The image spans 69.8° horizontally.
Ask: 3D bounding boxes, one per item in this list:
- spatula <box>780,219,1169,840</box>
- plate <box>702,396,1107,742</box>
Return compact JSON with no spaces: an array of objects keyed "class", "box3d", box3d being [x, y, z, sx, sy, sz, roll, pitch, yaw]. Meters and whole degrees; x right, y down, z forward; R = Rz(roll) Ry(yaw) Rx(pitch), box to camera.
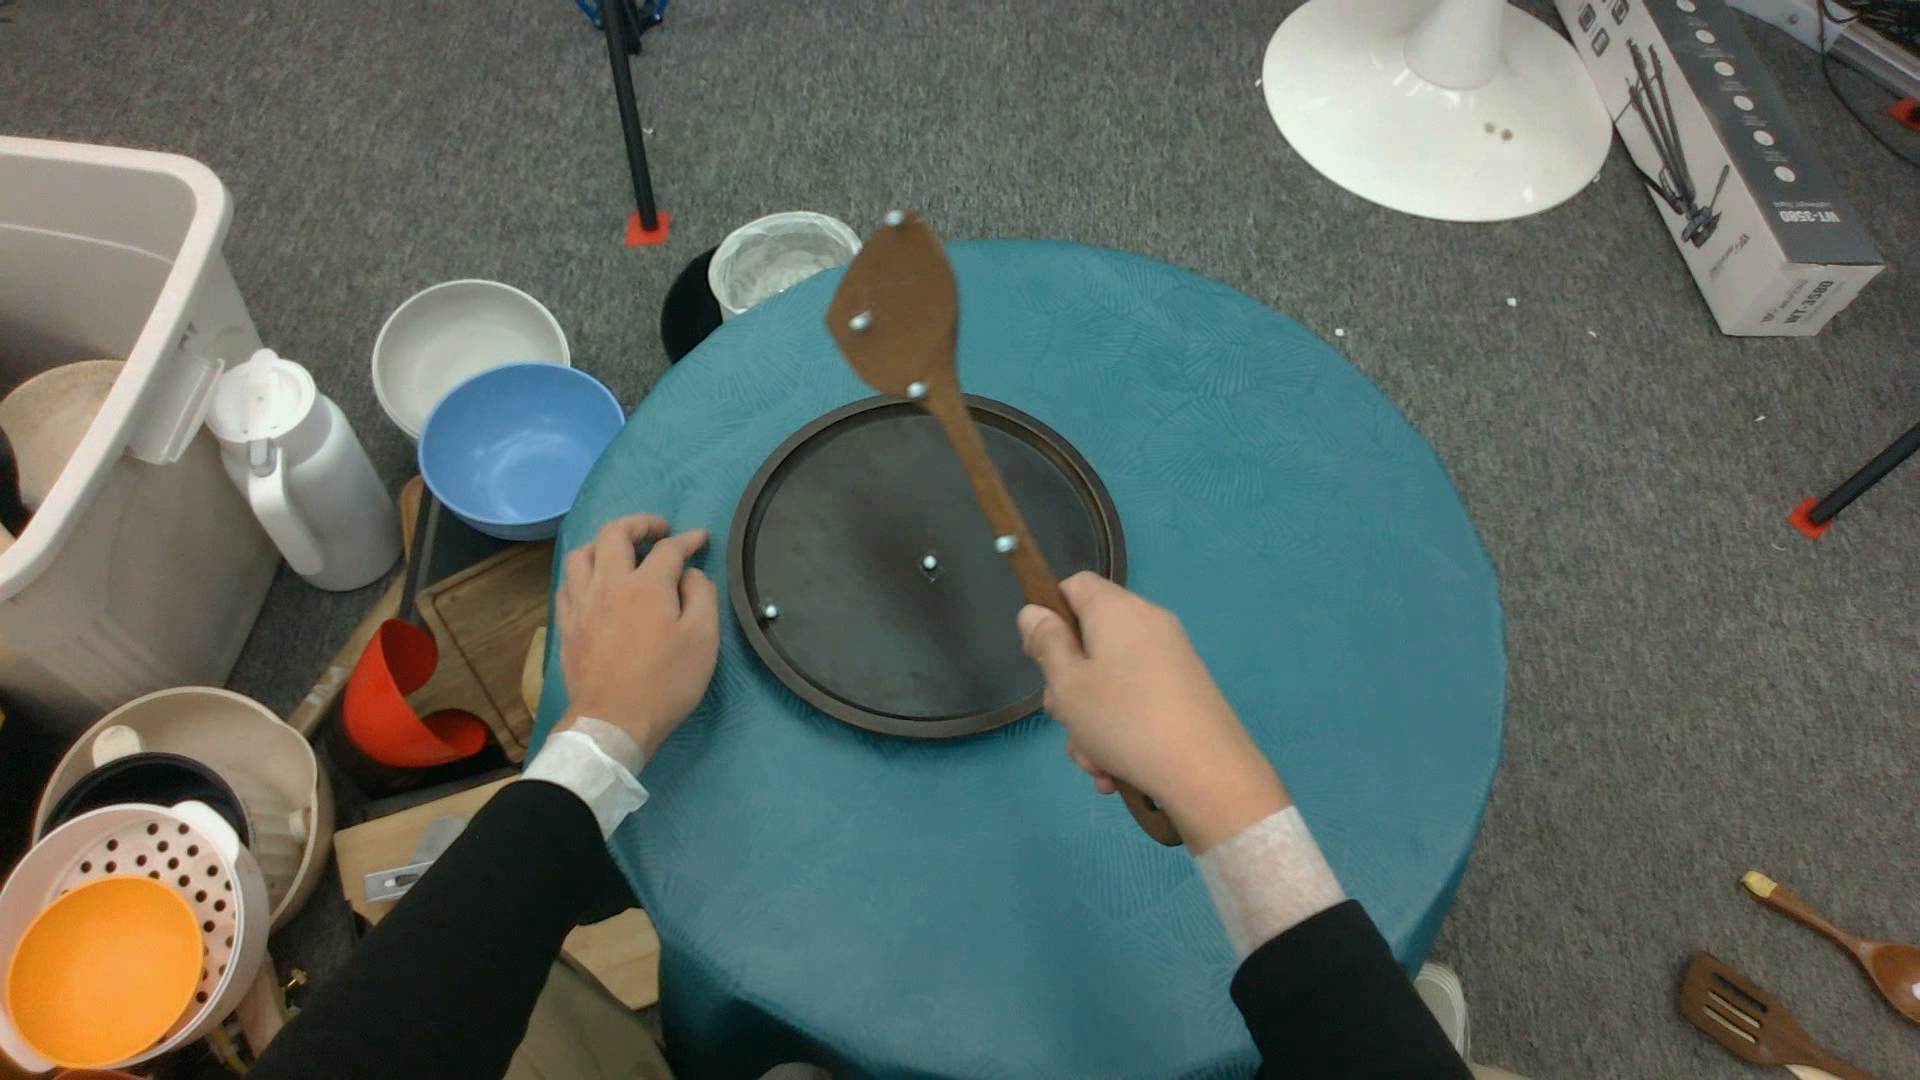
[{"class":"spatula","box3d":[0.002,-0.014,0.711,0.016,0.095,0.387,1,49,-45]},{"class":"plate","box3d":[-0.034,0.012,0.869,0.255,0.029,0.256,3,57,-4]}]
